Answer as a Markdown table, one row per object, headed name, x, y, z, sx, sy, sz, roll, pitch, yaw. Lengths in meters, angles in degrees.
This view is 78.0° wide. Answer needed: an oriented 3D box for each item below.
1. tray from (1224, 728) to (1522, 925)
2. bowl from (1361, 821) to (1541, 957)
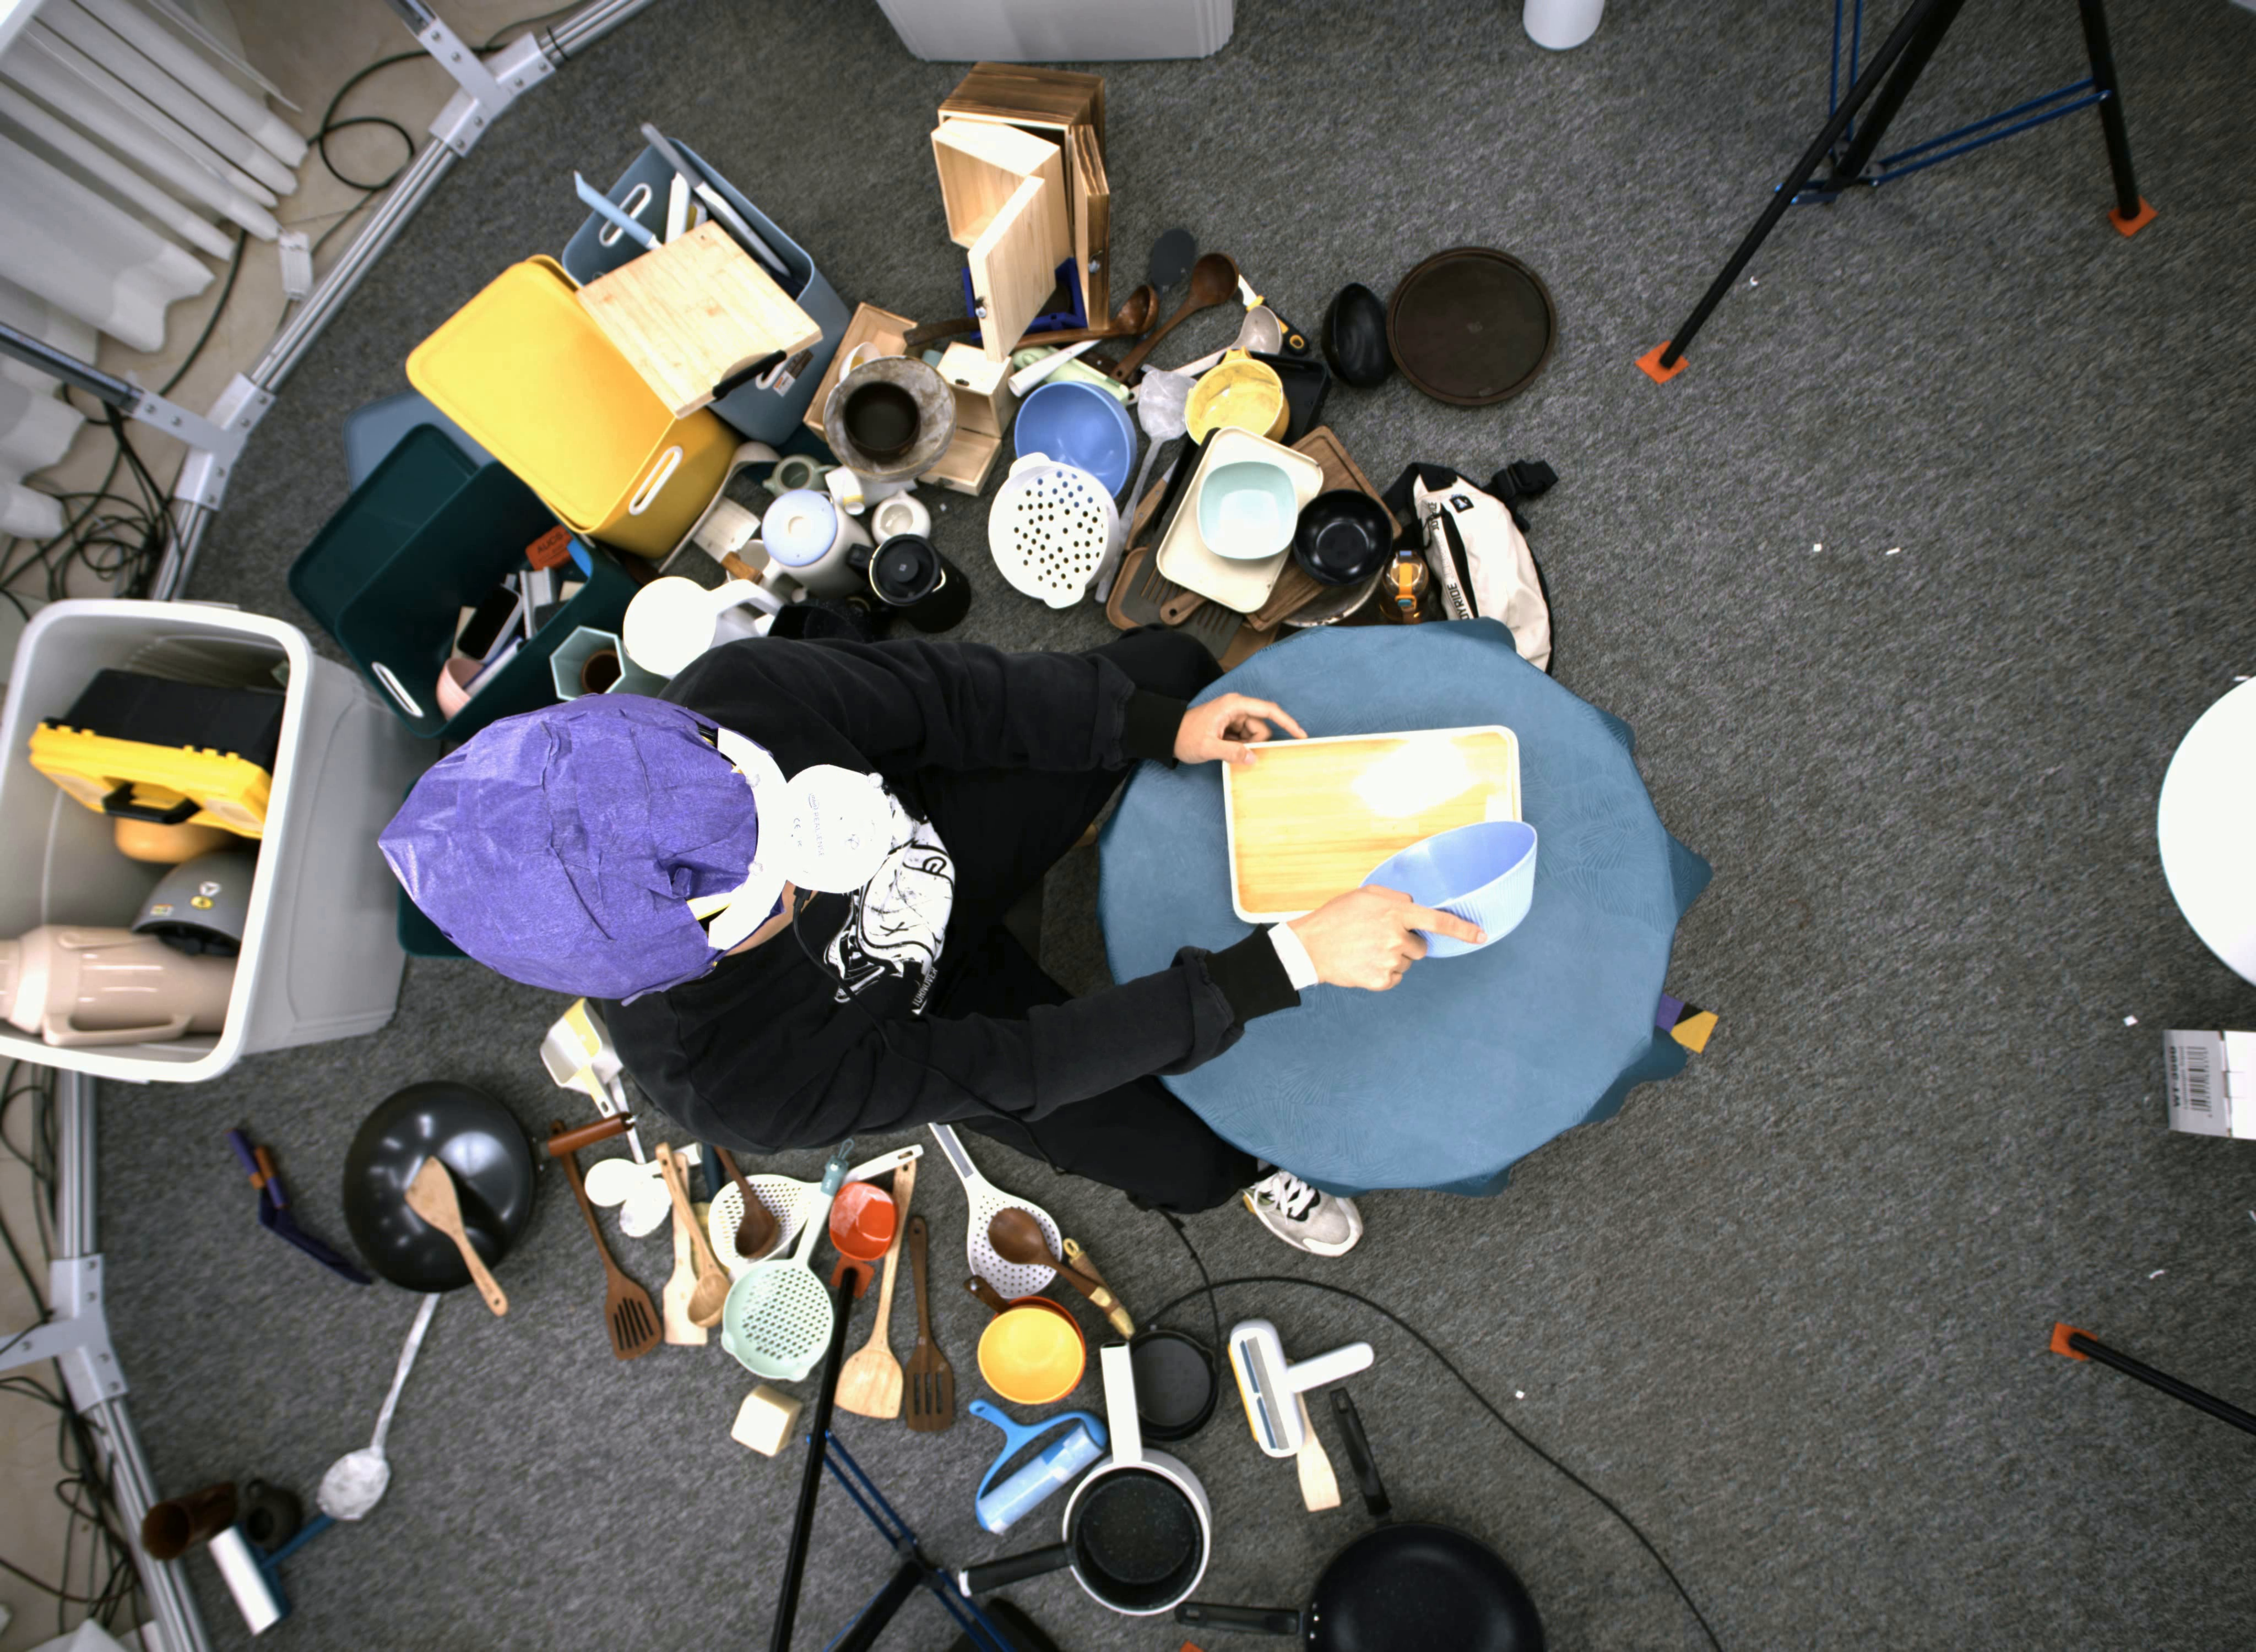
| name | x | y | z | sx | sy | sz | roll | pitch | yaw |
| --- | --- | --- | --- | --- | --- | --- | --- | --- | --- |
| tray | 0.255 | 0.000 | 1.434 | 0.301 | 0.027 | 0.193 | -4 | 102 | 9 |
| bowl | 0.310 | 0.063 | 1.281 | 0.177 | 0.173 | 0.071 | -25 | 103 | 6 |
